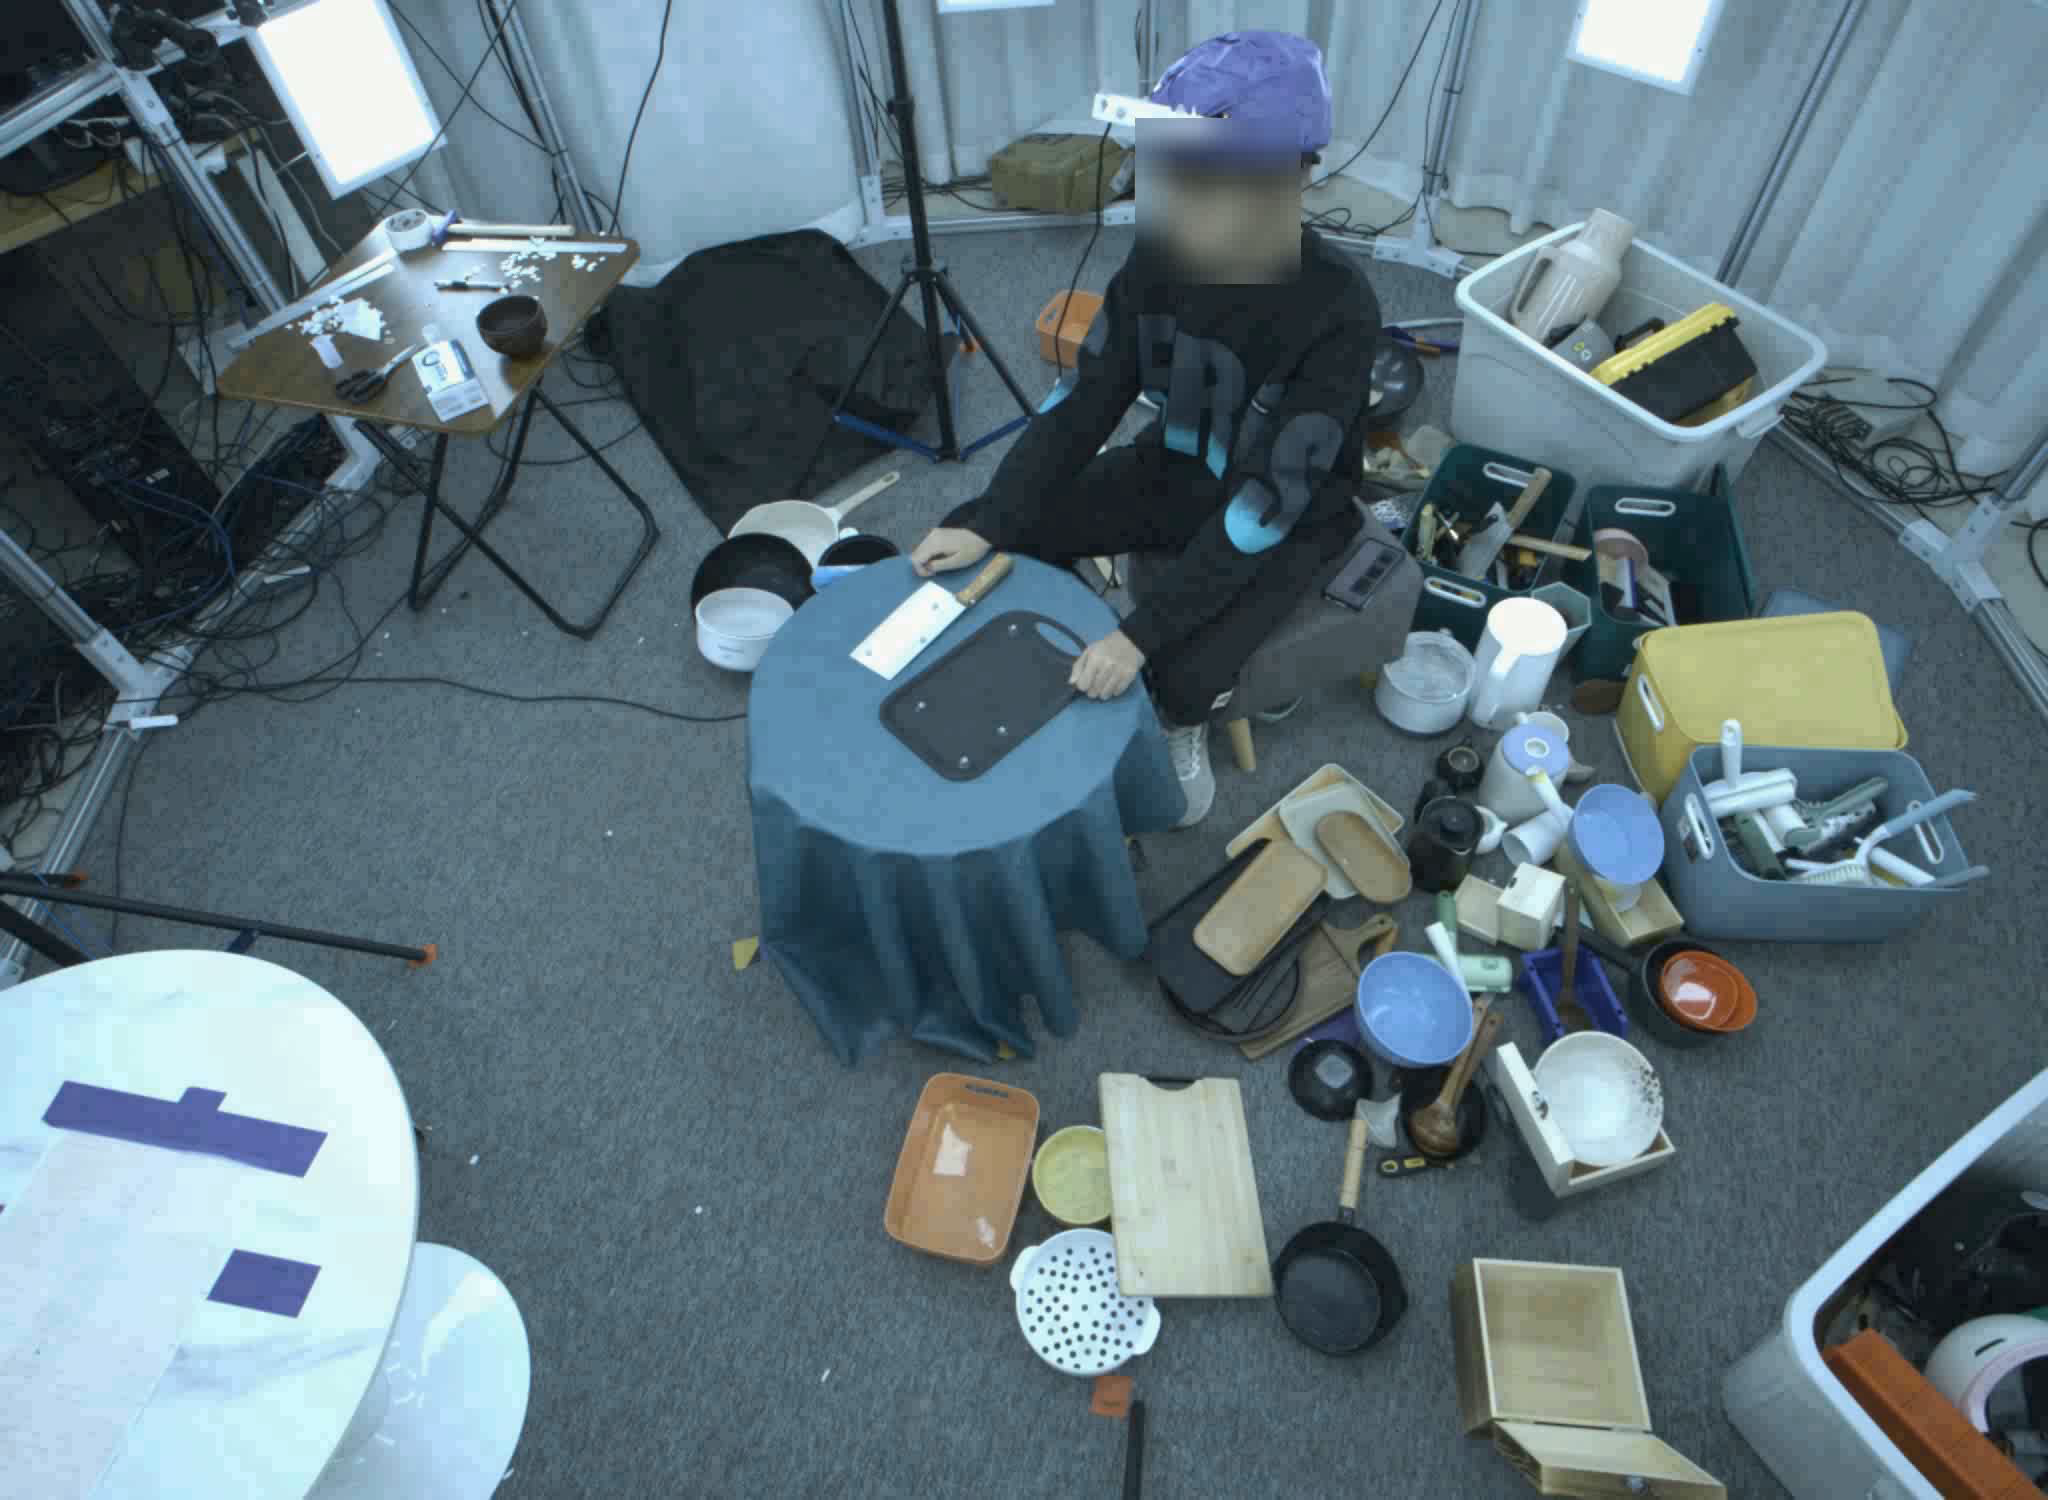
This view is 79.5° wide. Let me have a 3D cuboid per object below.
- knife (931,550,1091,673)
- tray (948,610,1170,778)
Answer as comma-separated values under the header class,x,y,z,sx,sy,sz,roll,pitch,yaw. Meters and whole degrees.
class,x,y,z,sx,sy,sz,roll,pitch,yaw
knife,-0.024,-0.233,1.943,0.091,0.021,0.307,36,66,26
tray,0.059,-0.096,1.848,0.328,0.010,0.207,-34,60,-20
